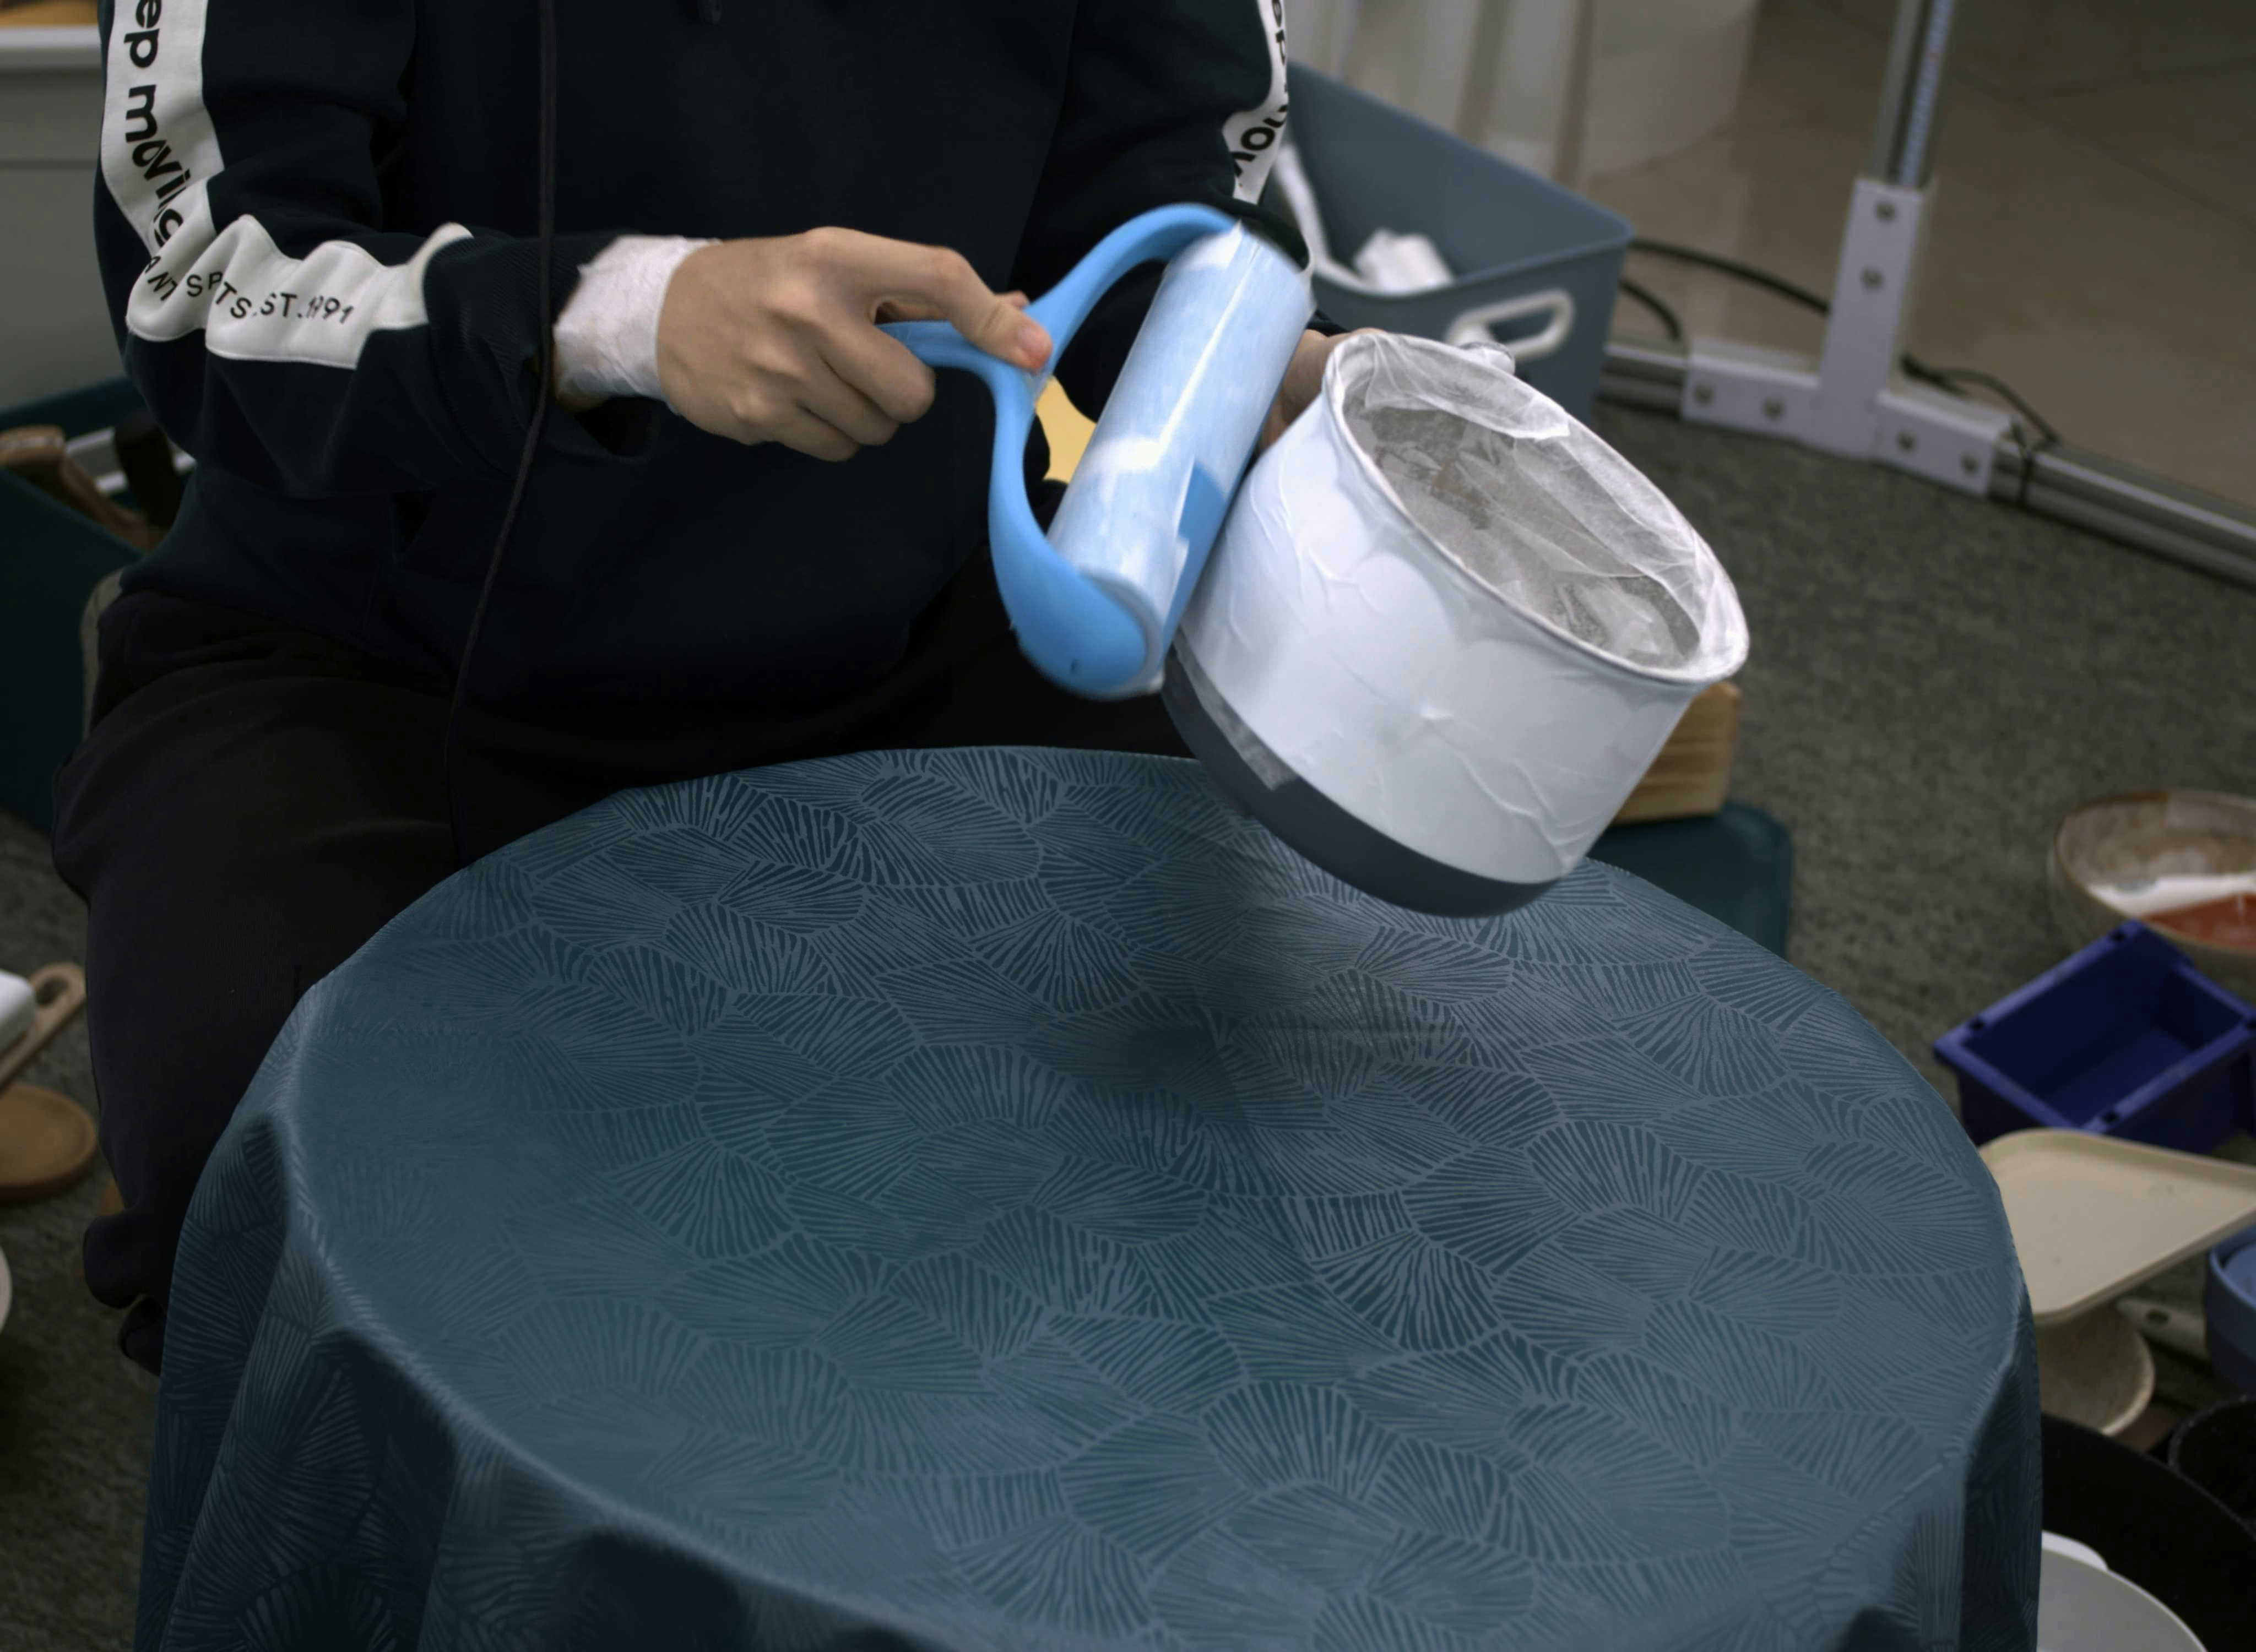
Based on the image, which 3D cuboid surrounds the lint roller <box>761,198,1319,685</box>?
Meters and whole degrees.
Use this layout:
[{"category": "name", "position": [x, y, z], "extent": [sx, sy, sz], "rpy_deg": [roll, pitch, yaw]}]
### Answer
[{"category": "lint roller", "position": [-0.040, -0.142, 1.832], "extent": [0.180, 0.067, 0.230], "rpy_deg": [11, 45, 7]}]

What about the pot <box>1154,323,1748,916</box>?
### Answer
[{"category": "pot", "position": [0.103, -0.083, 1.865], "extent": [0.177, 0.136, 0.235], "rpy_deg": [26, 29, -22]}]
